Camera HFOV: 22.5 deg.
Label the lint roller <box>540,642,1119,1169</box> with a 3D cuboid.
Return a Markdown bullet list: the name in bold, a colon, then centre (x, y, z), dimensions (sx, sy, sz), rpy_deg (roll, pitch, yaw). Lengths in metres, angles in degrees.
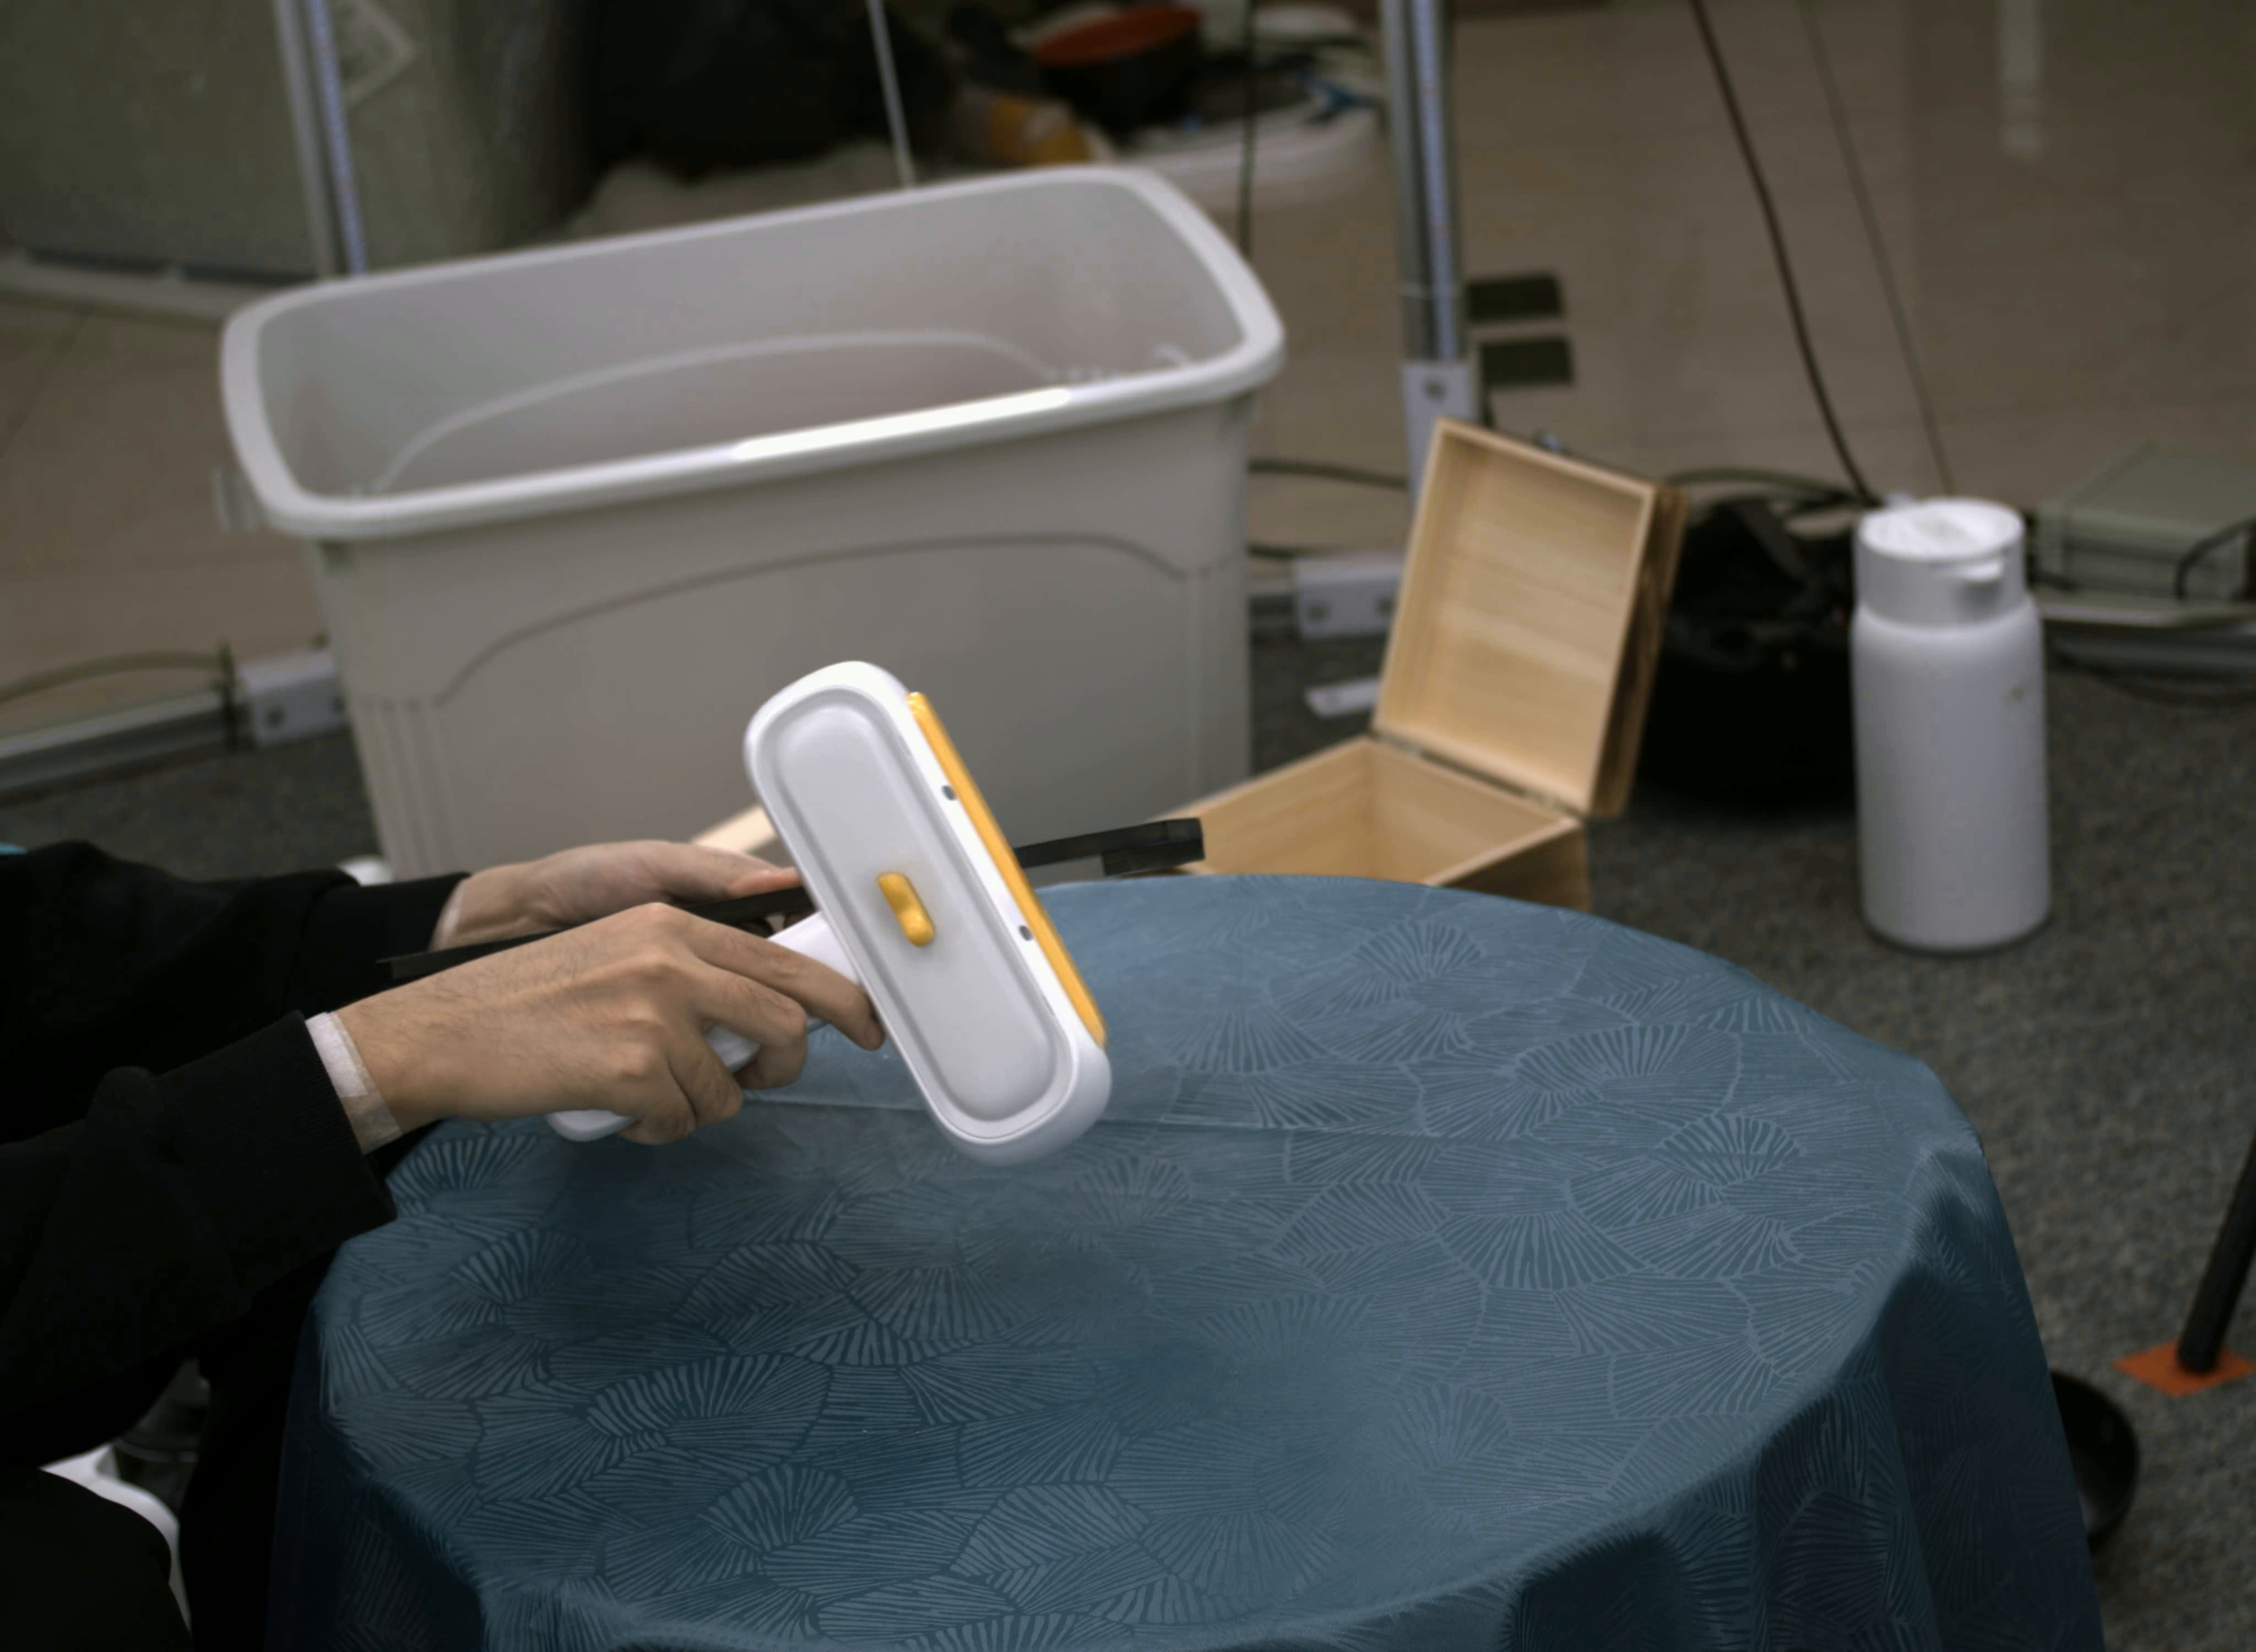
- **lint roller**: centre (-0.122, 0.056, 2.007), dimensions (0.192, 0.193, 0.074), rpy_deg (-33, 0, -1)

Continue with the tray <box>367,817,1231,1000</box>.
- **tray**: centre (-0.121, 0.032, 2.146), dimensions (0.306, 0.018, 0.170), rpy_deg (-10, -1, 12)
